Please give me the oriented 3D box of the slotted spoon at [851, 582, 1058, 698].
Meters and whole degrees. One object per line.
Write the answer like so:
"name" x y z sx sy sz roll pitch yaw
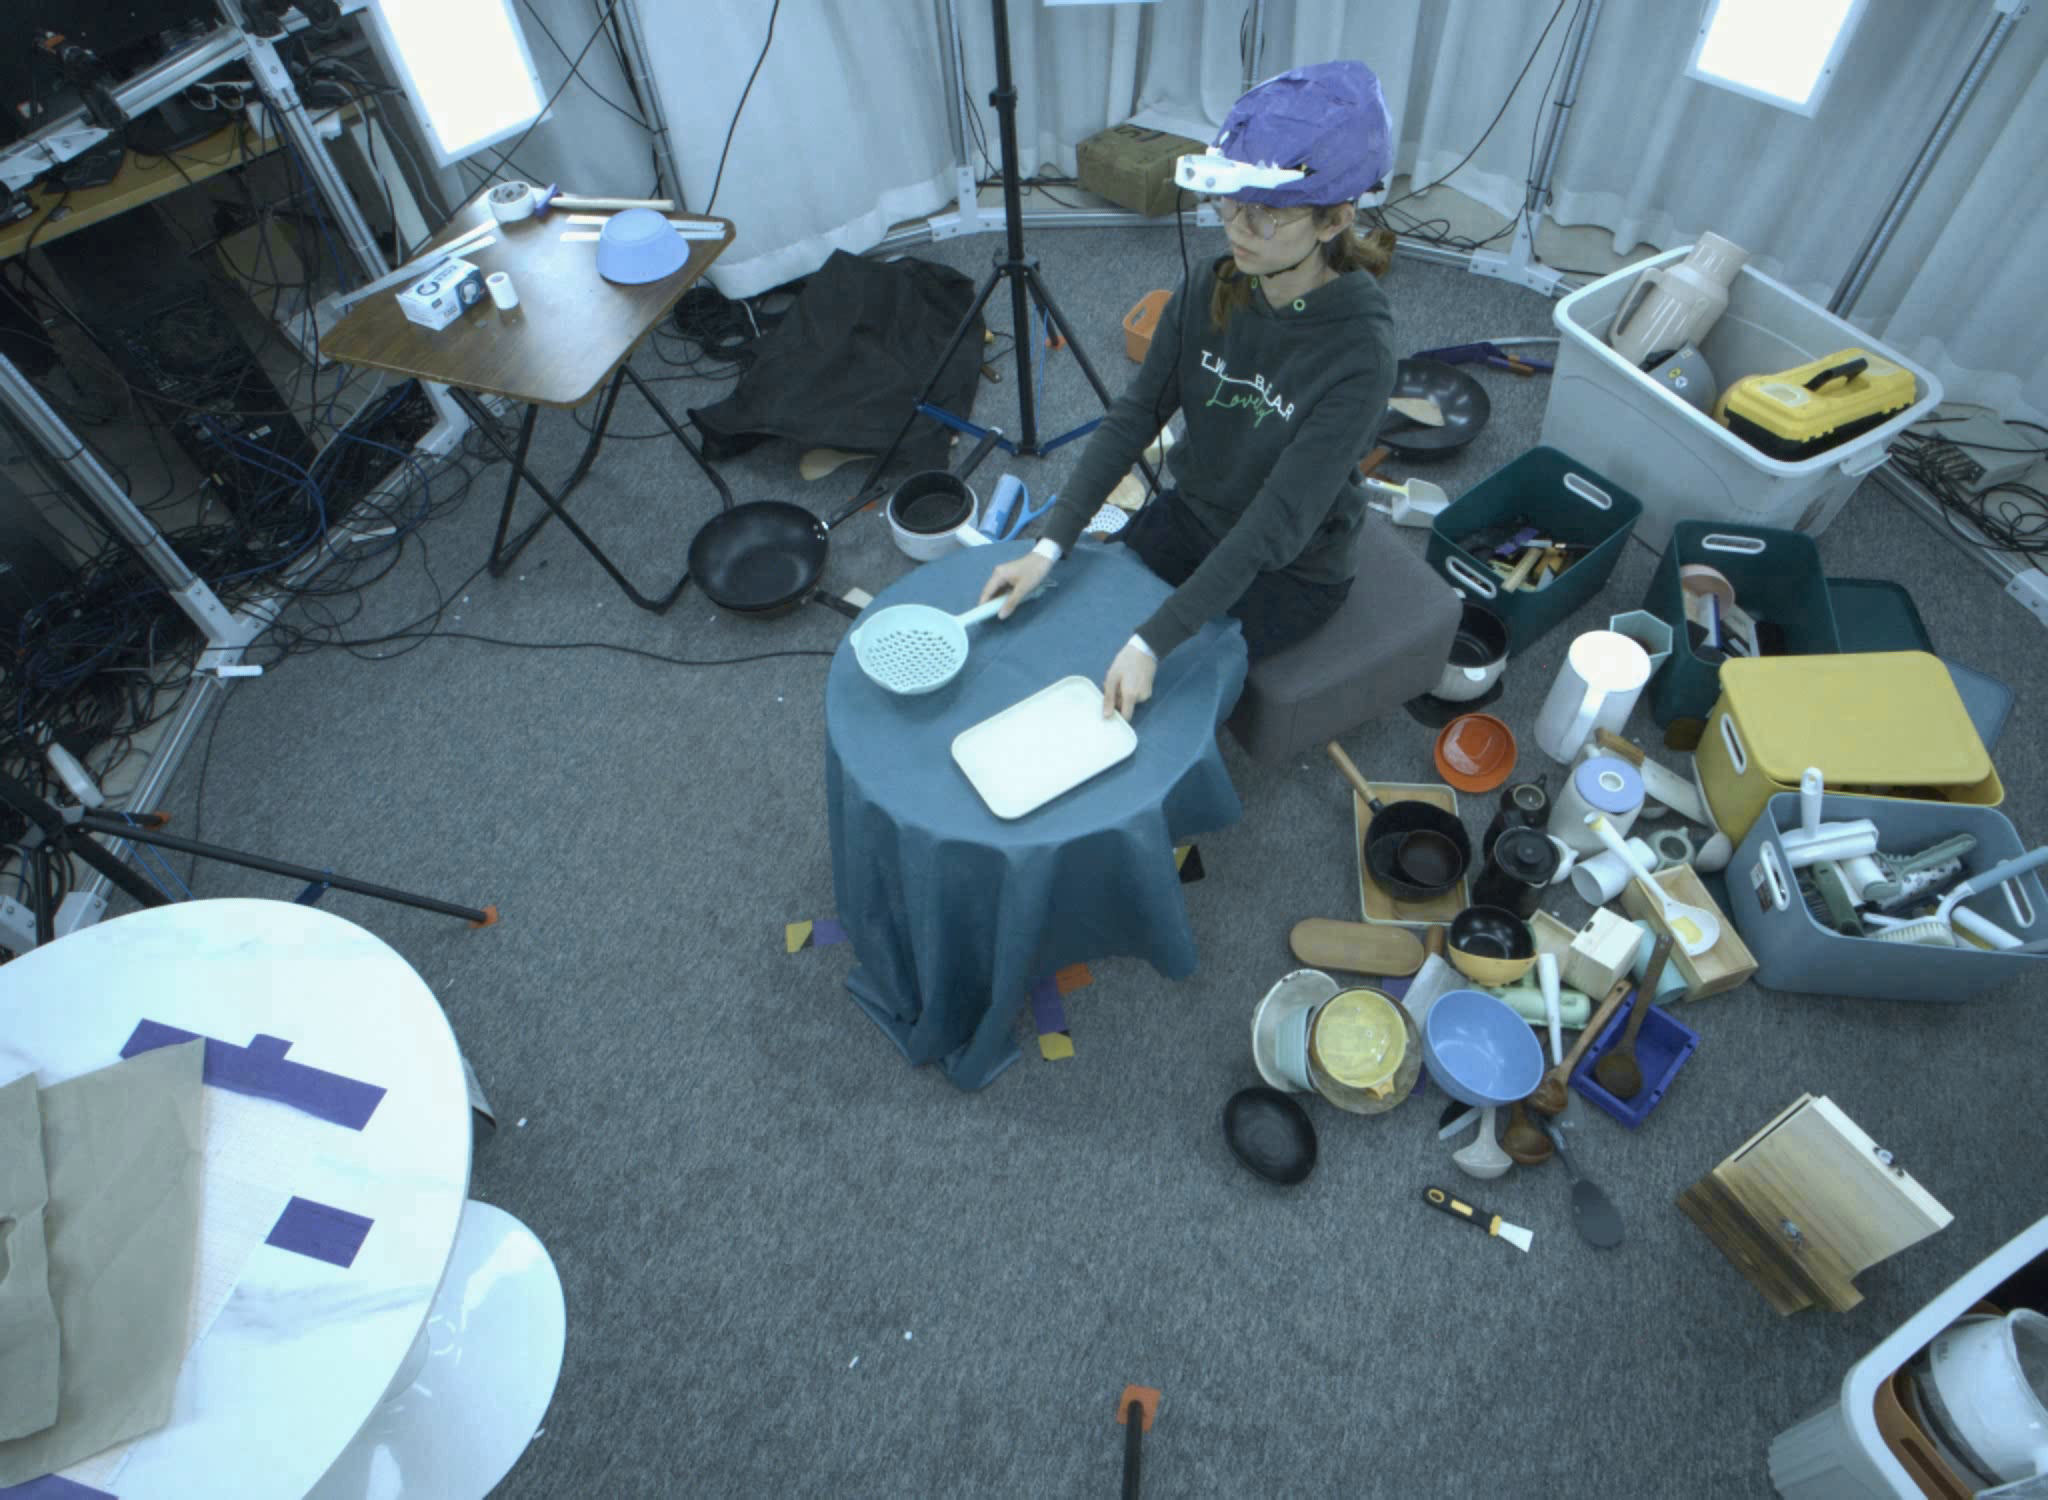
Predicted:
"slotted spoon" -0.092 -0.190 1.893 0.361 0.076 0.166 -34 65 -20

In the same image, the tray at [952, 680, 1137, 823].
"tray" 0.030 0.000 1.782 0.241 0.017 0.168 -28 59 -16
